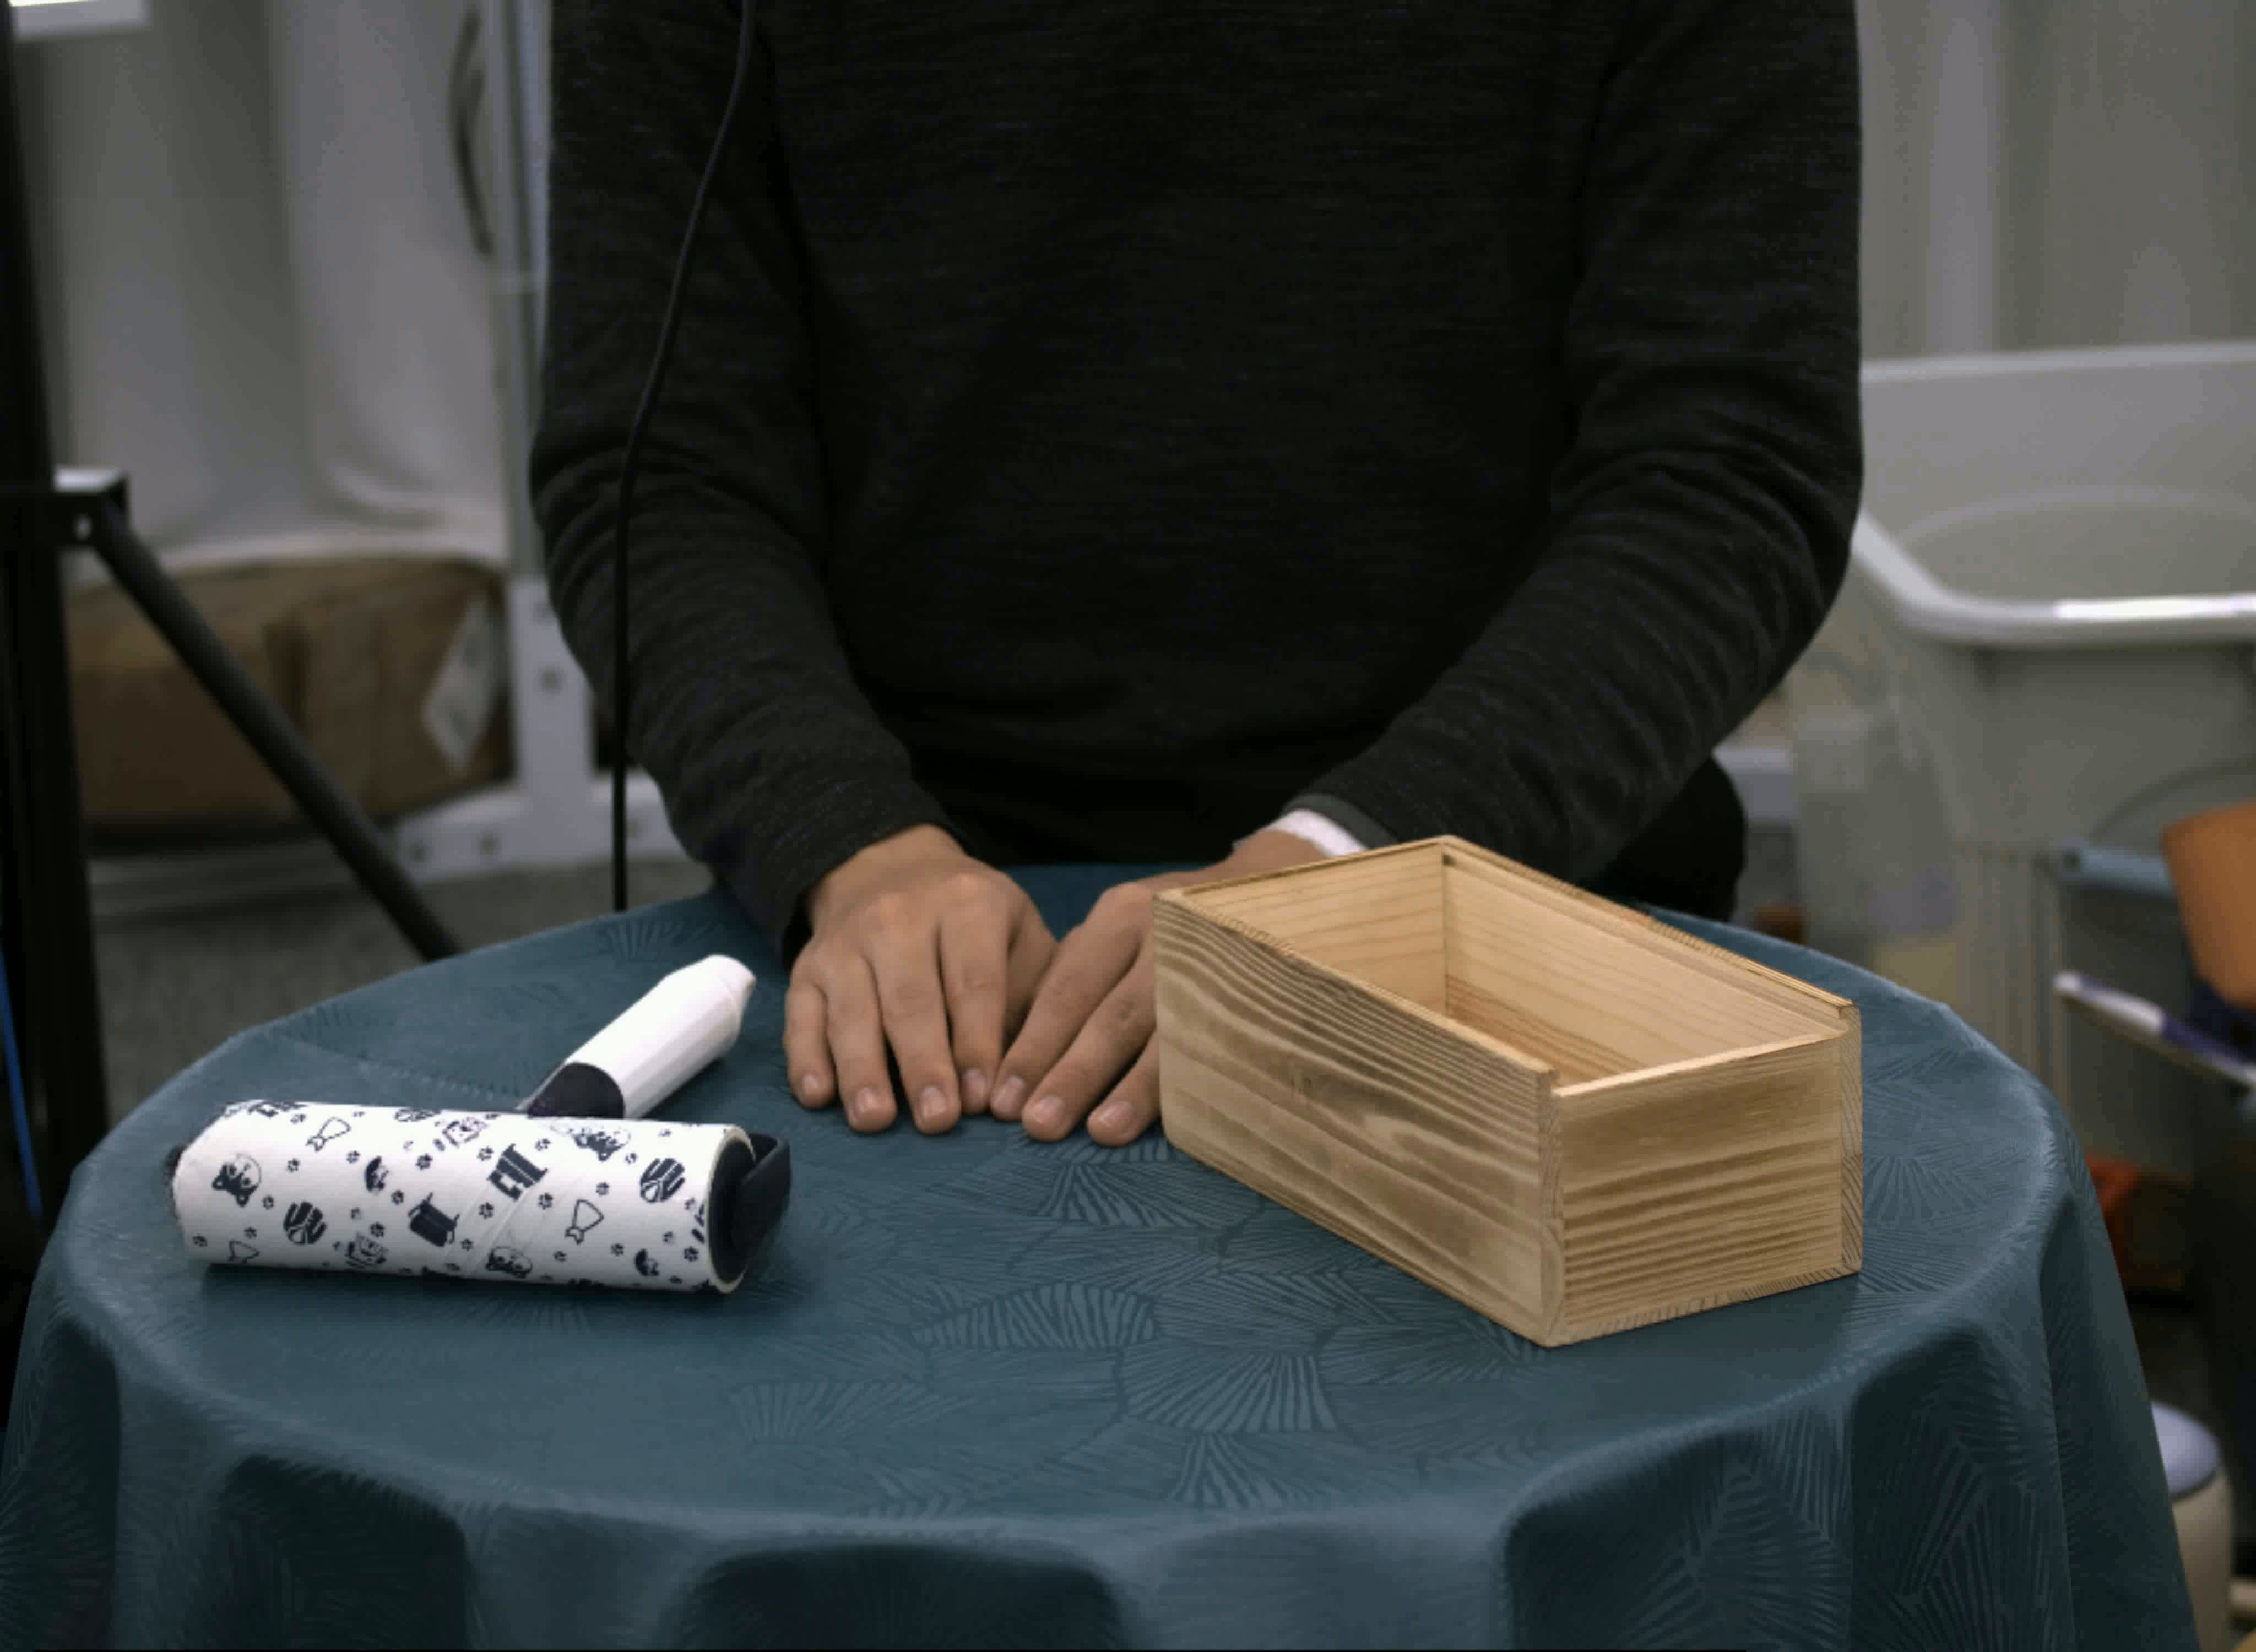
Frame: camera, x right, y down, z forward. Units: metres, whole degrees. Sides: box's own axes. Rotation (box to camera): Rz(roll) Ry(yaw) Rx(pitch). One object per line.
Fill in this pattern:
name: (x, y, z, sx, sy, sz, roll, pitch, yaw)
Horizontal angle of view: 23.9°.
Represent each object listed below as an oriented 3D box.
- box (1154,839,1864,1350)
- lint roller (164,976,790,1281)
box: (0.105, 0.073, 1.519, 0.105, 0.080, 0.216, -10, 17, -27)
lint roller: (-0.163, 0.079, 1.607, 0.178, 0.050, 0.245, 1, 14, 15)
